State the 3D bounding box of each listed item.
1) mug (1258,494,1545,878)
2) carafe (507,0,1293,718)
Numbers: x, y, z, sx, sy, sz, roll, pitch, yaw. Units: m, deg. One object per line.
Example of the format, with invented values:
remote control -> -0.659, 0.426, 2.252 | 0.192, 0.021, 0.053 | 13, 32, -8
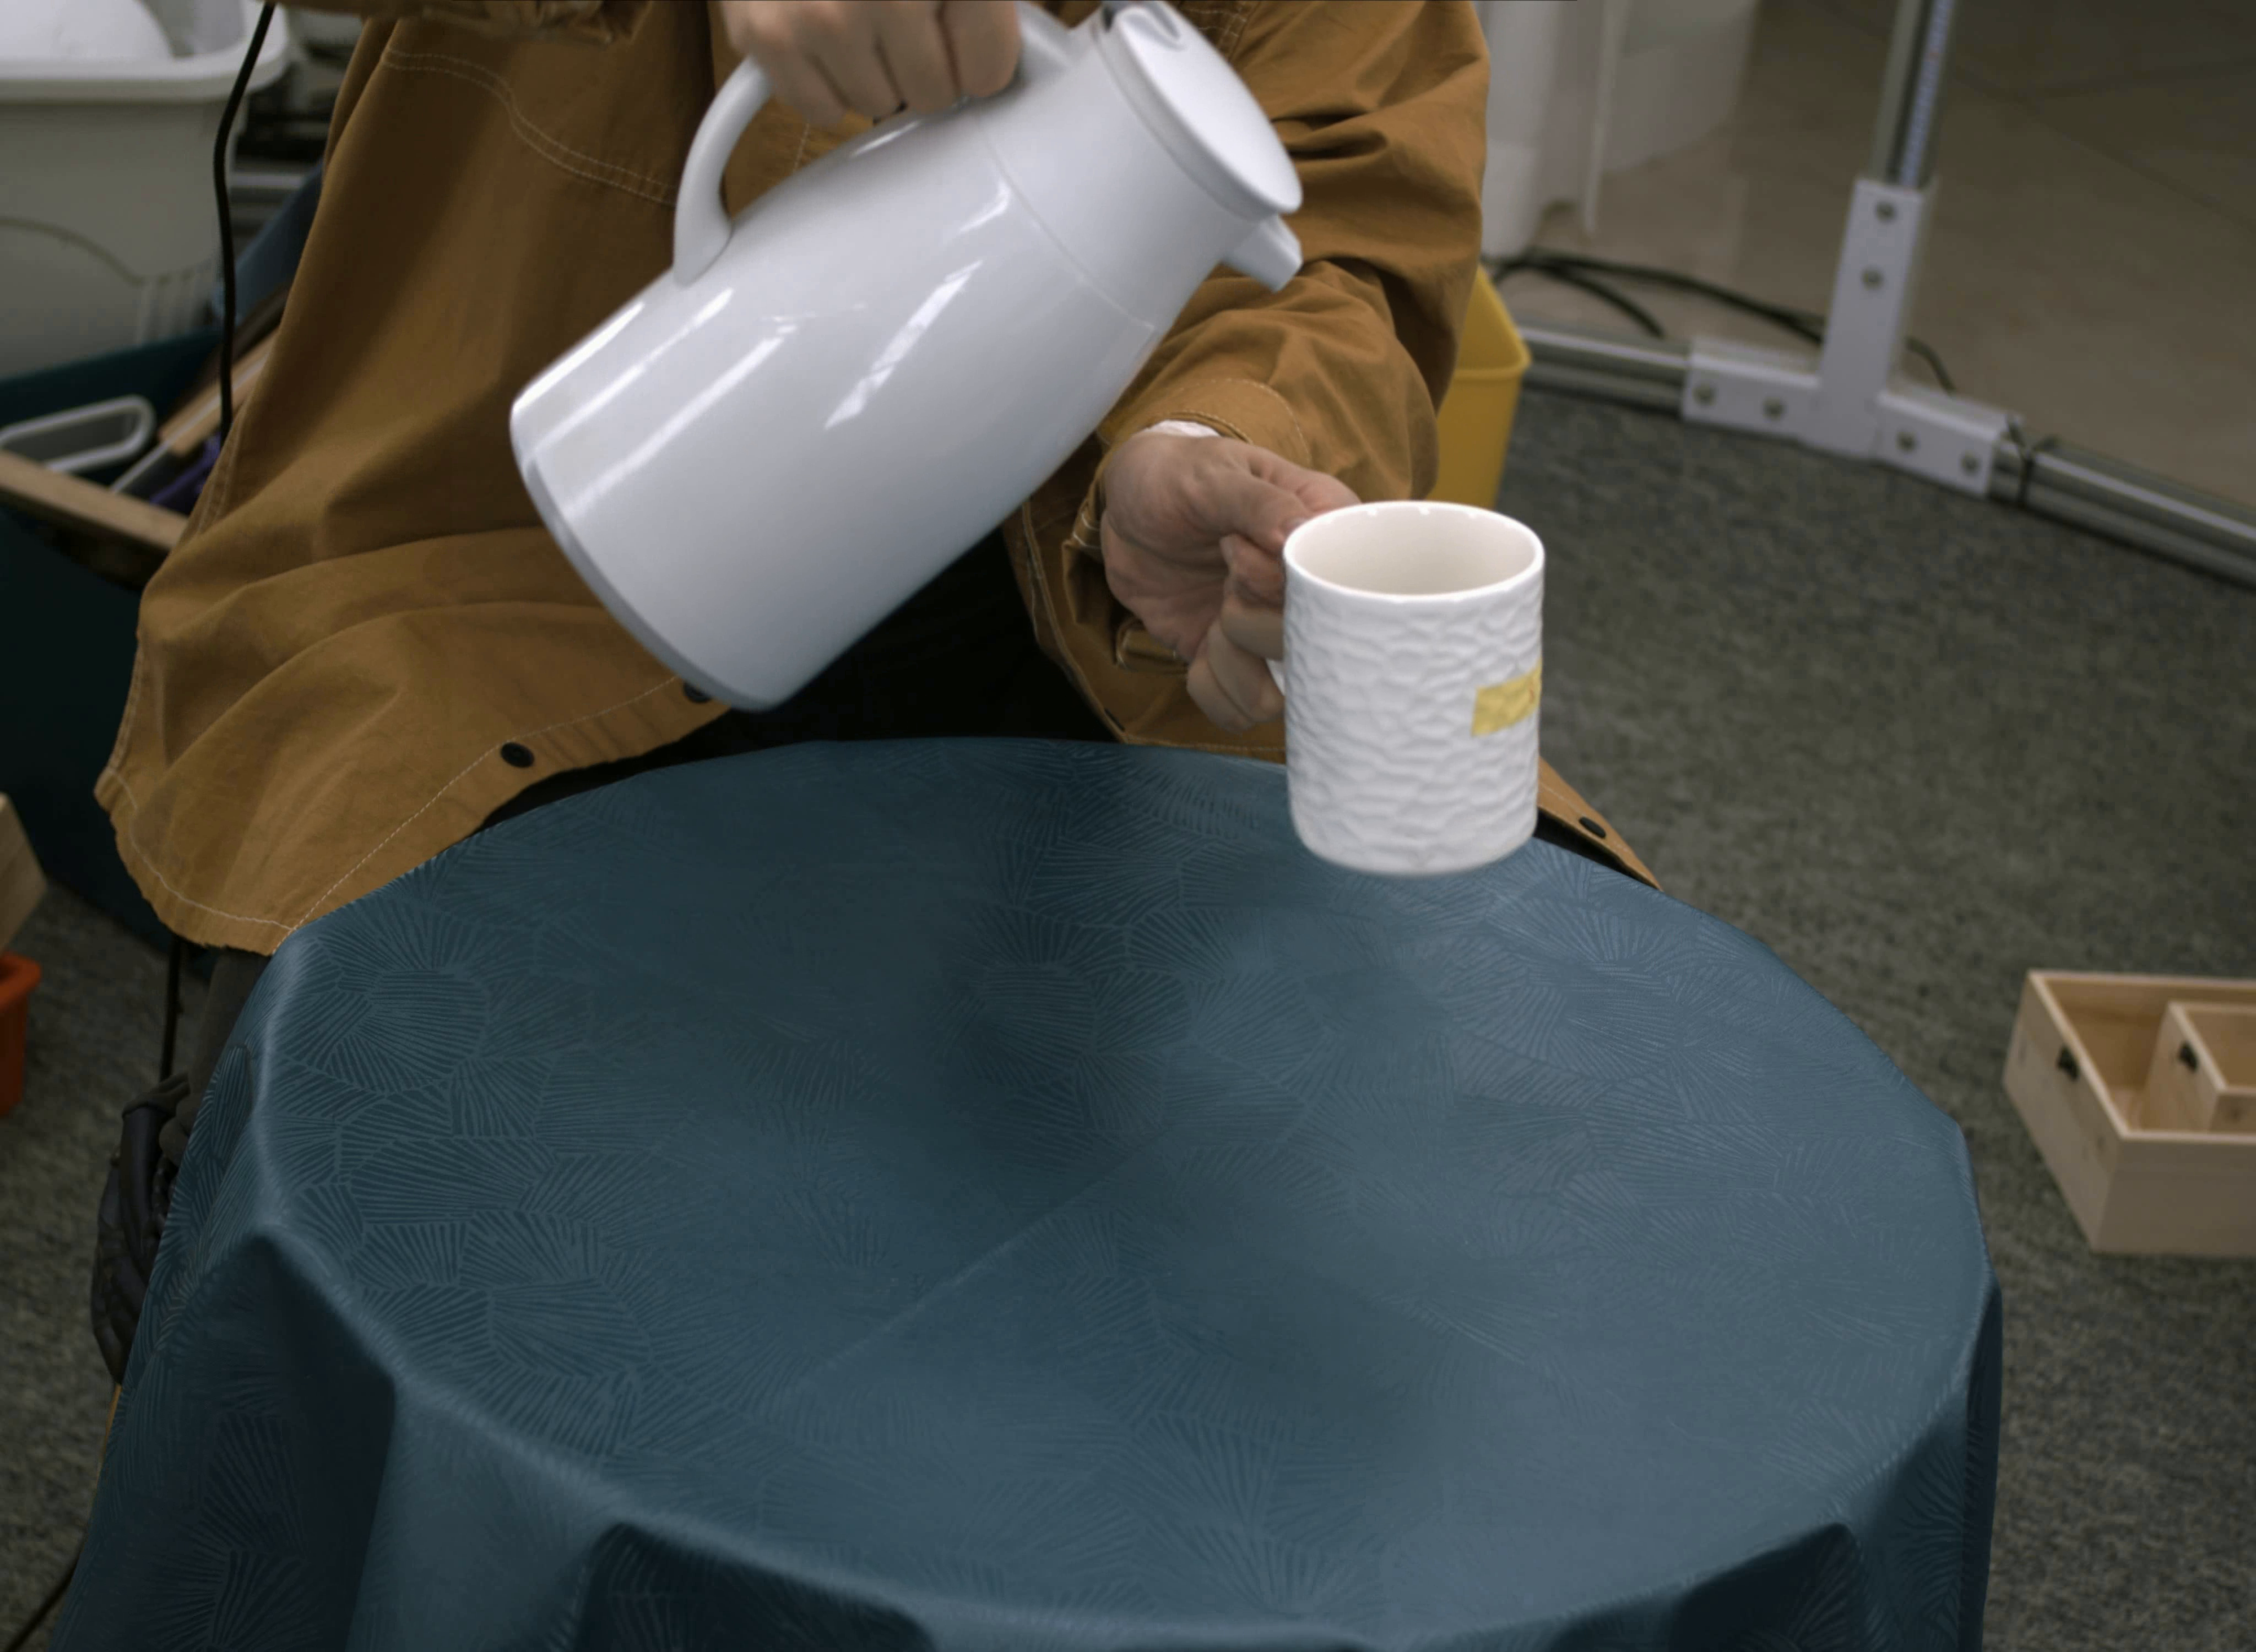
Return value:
mug -> 0.083, -0.051, 1.758 | 0.084, 0.101, 0.119 | -19, 32, -31
carafe -> -0.078, -0.171, 1.690 | 0.166, 0.248, 0.133 | 43, 21, -23
